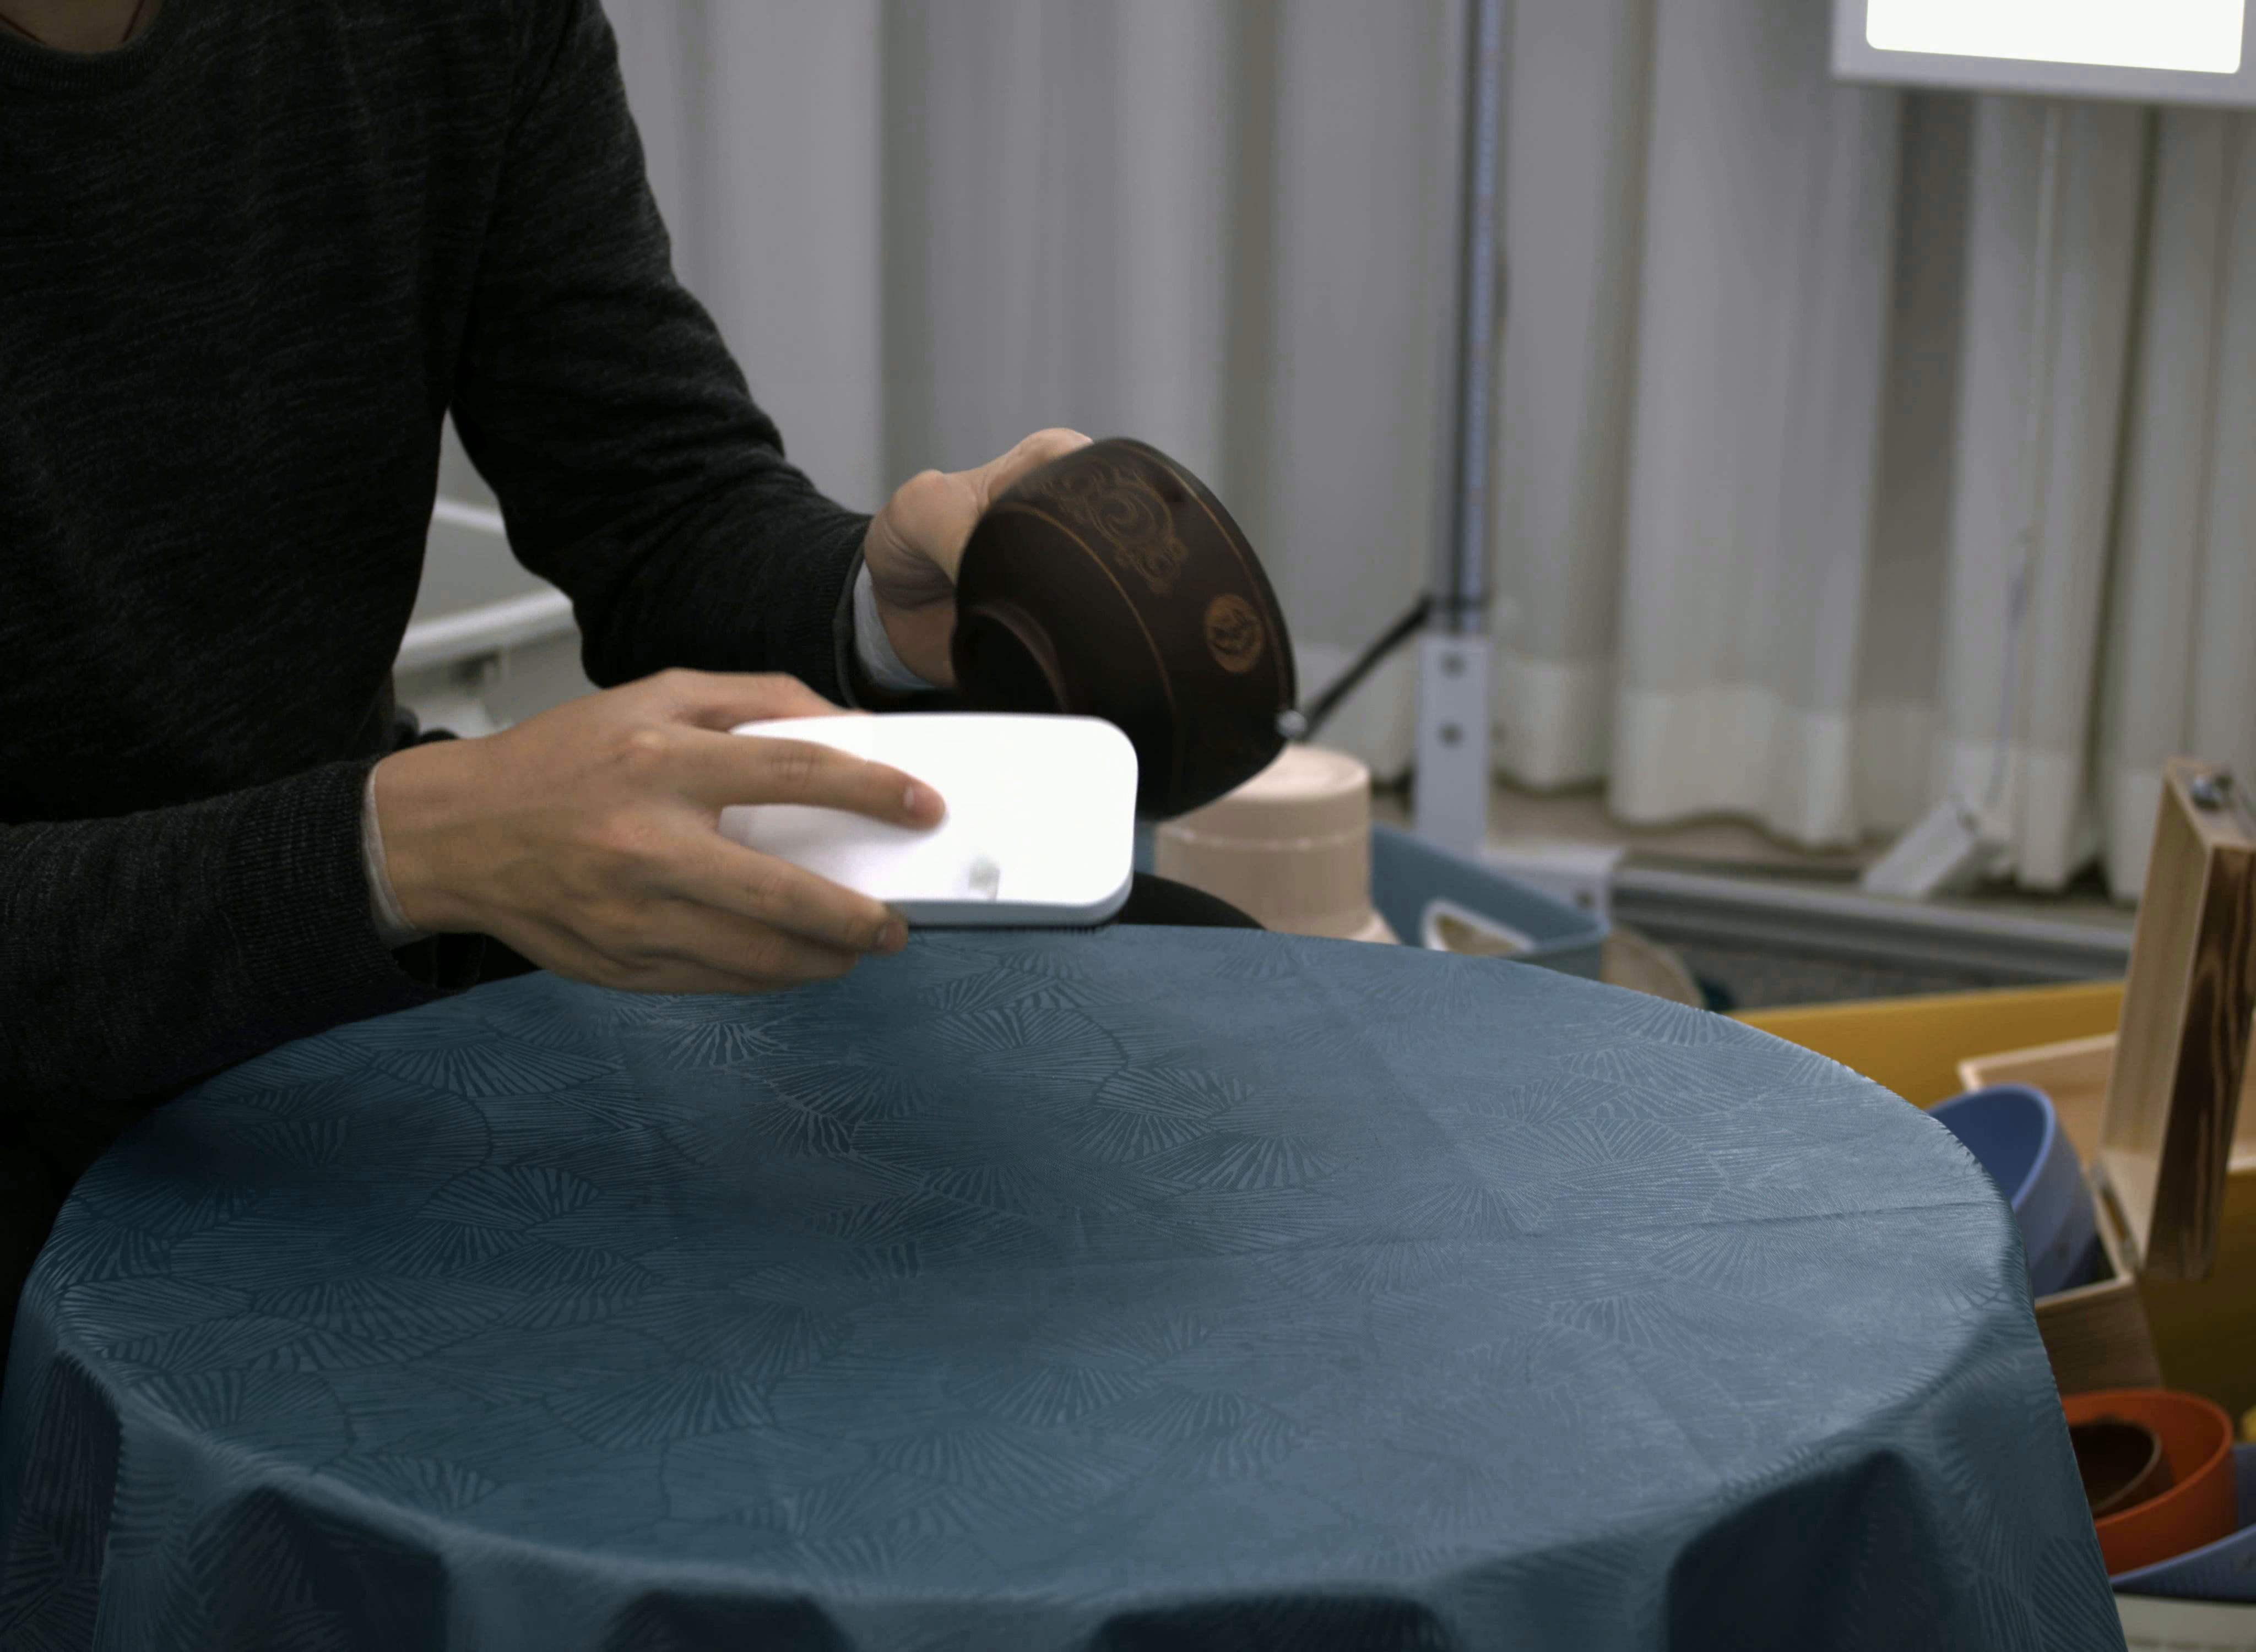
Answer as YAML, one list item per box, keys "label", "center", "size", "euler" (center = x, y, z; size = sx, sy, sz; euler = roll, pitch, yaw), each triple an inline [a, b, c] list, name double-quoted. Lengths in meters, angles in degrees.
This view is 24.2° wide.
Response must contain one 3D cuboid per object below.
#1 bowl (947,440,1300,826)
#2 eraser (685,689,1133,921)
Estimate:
- label: "bowl"
  center: [-0.011, -0.052, 1.608]
  size: [0.070, 0.119, 0.116]
  euler: [-35, 34, -29]
- label: "eraser"
  center: [-0.063, -0.005, 1.542]
  size: [0.130, 0.063, 0.035]
  euler: [0, -24, 7]
